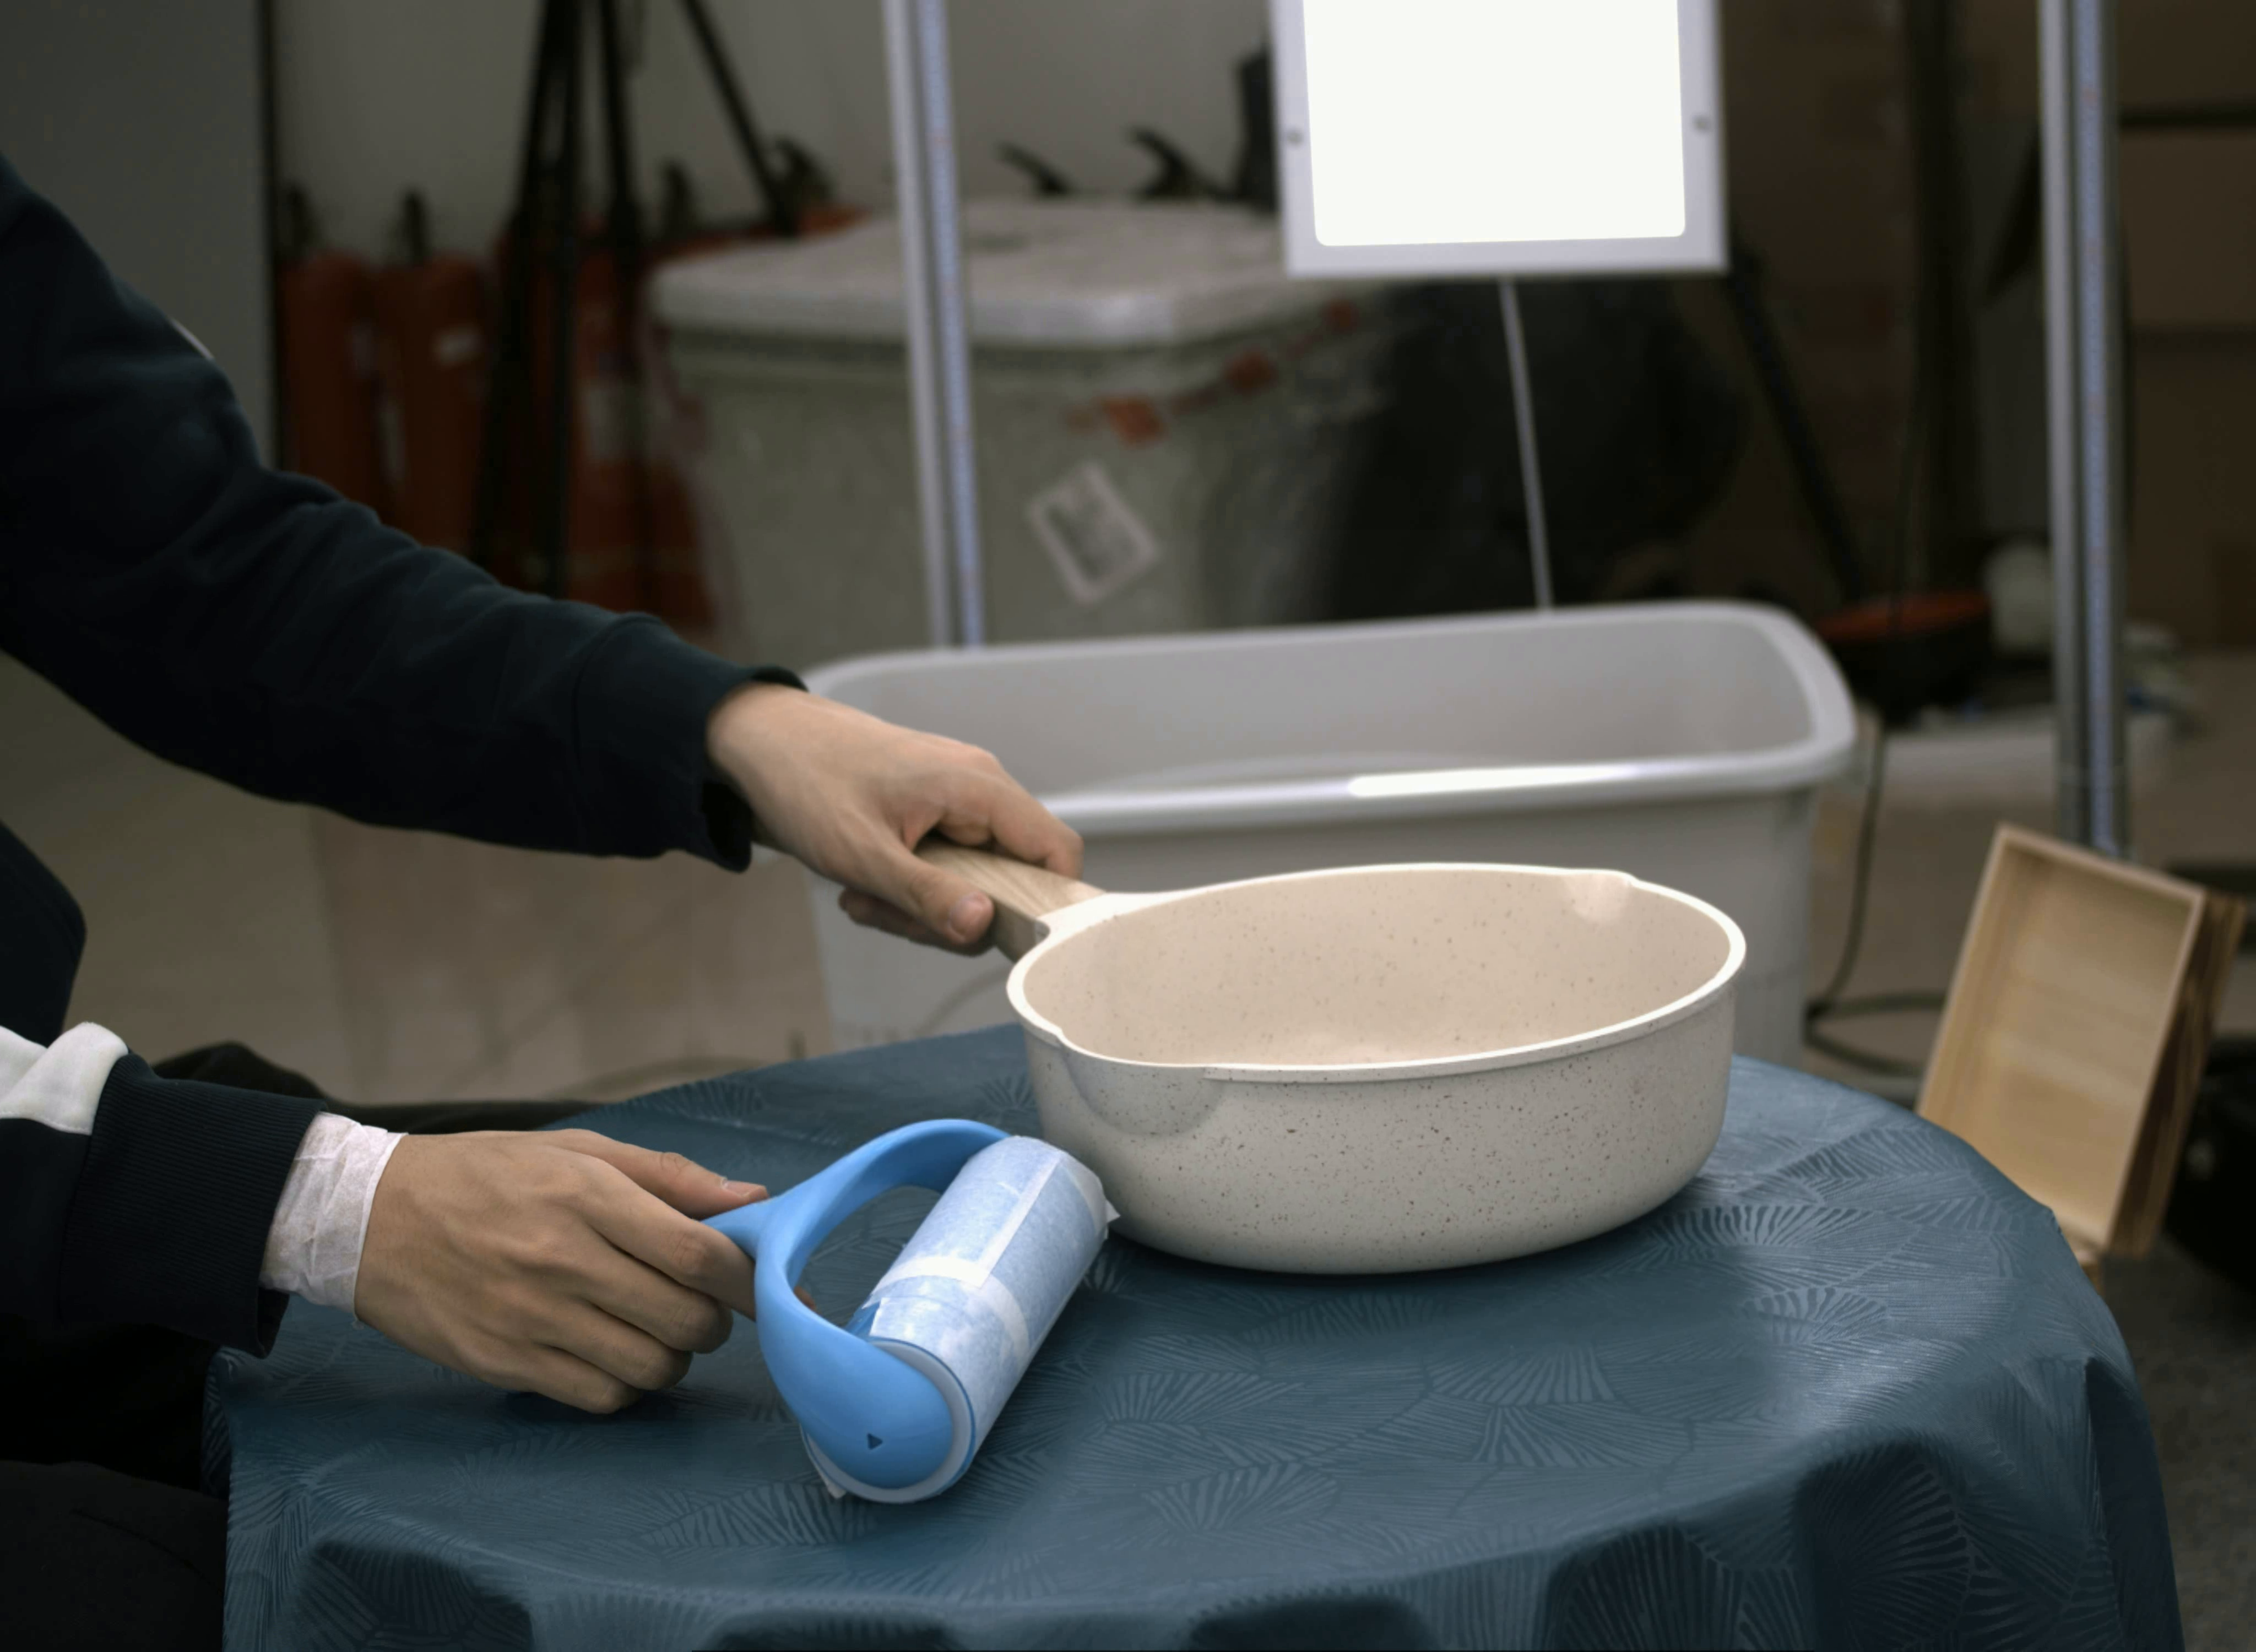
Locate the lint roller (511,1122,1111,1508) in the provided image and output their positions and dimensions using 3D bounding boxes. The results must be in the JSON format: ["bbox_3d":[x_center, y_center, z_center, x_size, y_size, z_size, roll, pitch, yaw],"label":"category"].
[{"bbox_3d":[-0.108,0.151,1.717,0.181,0.068,0.226,-1,16,10],"label":"lint roller"}]

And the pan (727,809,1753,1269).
[{"bbox_3d":[0.021,0.065,1.929,0.444,0.102,0.257,8,20,44],"label":"pan"}]
